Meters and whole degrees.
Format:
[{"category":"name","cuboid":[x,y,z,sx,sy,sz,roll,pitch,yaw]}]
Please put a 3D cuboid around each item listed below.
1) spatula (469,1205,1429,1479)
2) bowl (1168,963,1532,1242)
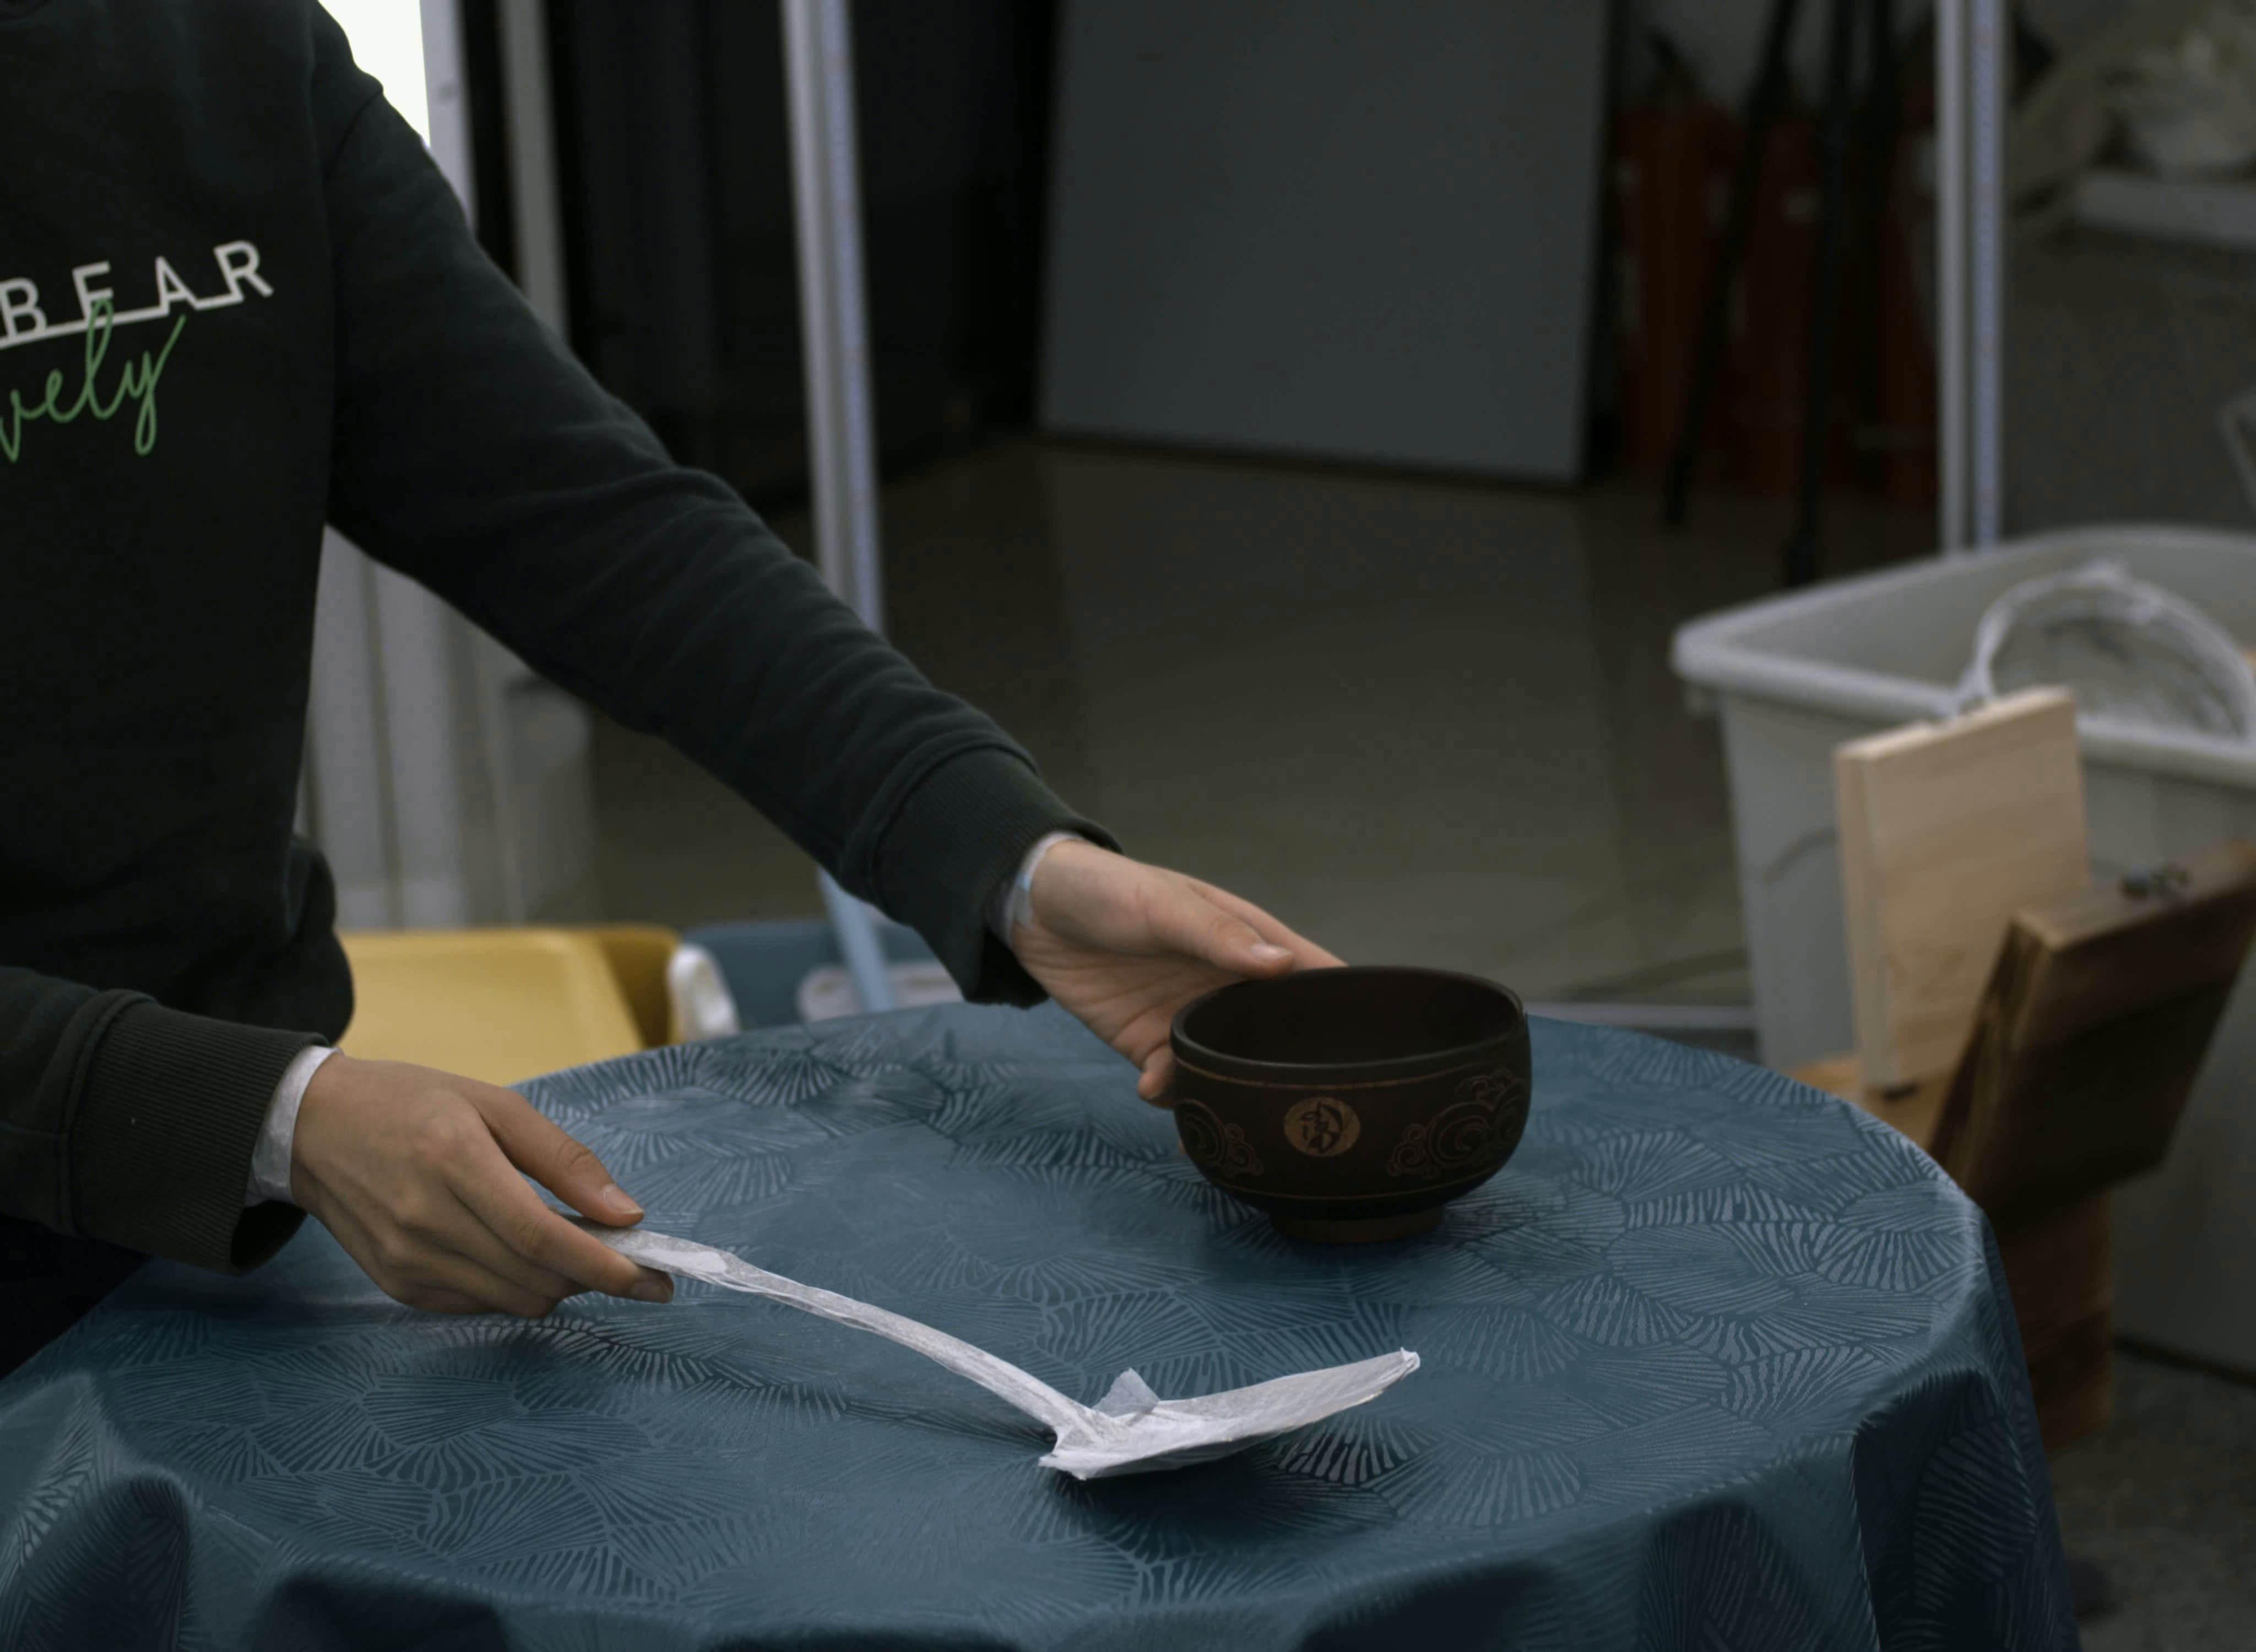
[{"category":"spatula","cuboid":[-0.074,0.142,1.594,0.368,0.045,0.097,14,22,38]},{"category":"bowl","cuboid":[0.072,0.091,1.721,0.116,0.070,0.118,-4,12,0]}]
